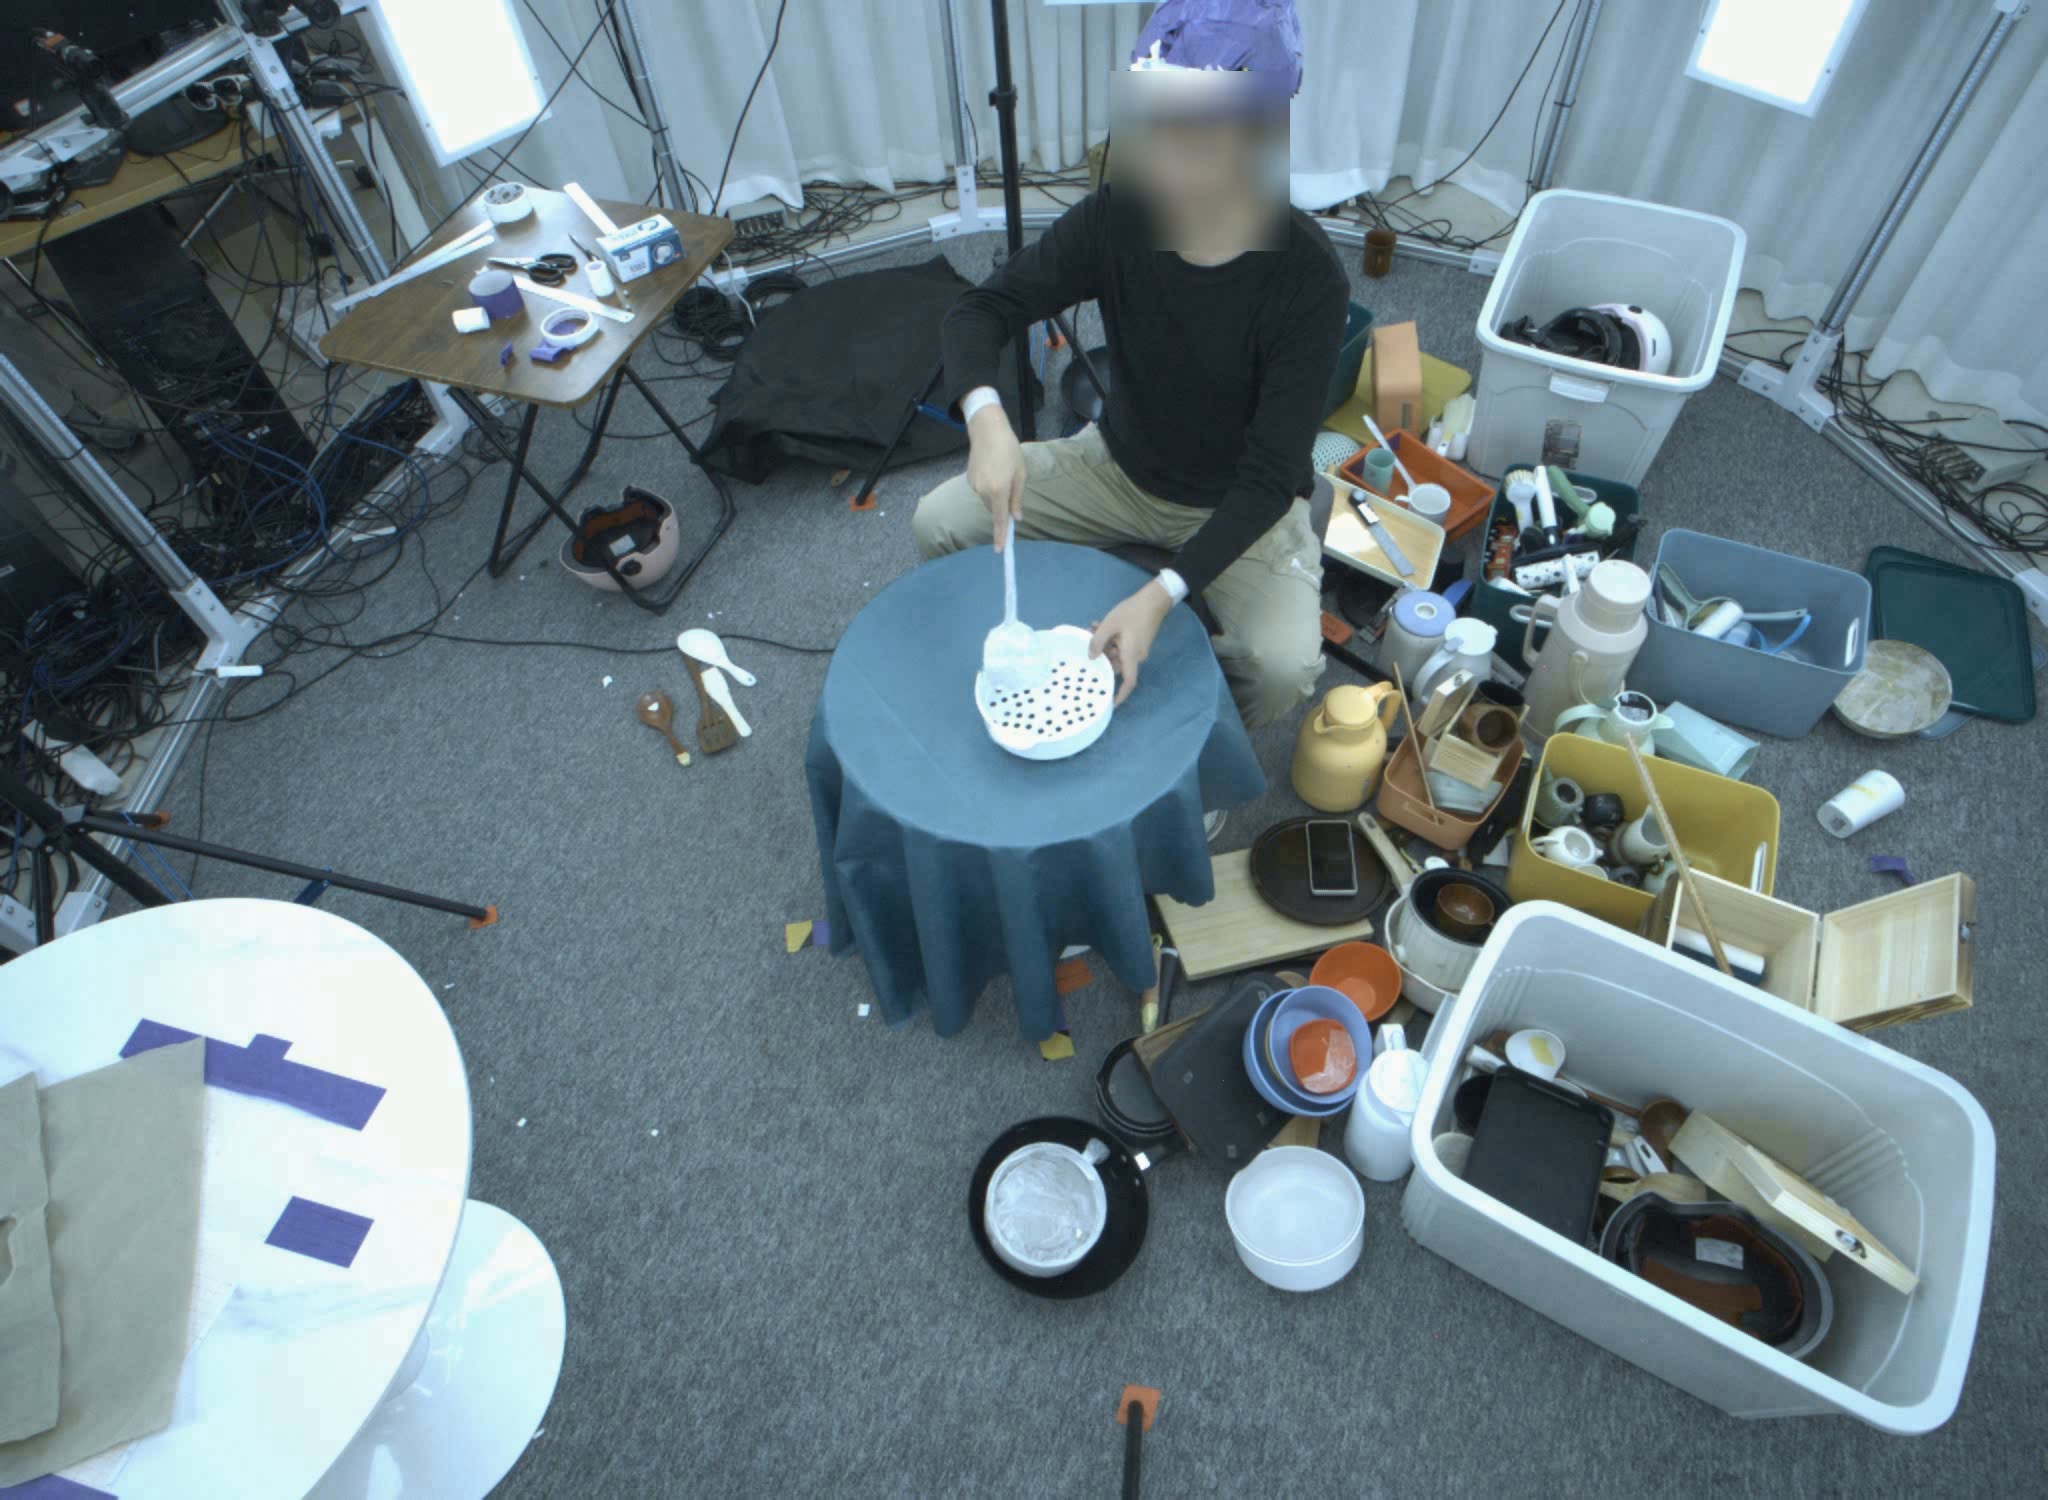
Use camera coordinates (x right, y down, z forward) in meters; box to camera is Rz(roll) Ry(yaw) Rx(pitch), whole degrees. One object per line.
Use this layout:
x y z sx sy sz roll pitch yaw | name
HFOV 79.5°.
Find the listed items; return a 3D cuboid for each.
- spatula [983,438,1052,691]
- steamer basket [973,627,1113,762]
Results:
-0.020 -0.265 1.731 0.100 0.044 0.365 -5 96 -17 | spatula
0.029 -0.076 1.793 0.199 0.070 0.231 22 61 18 | steamer basket
